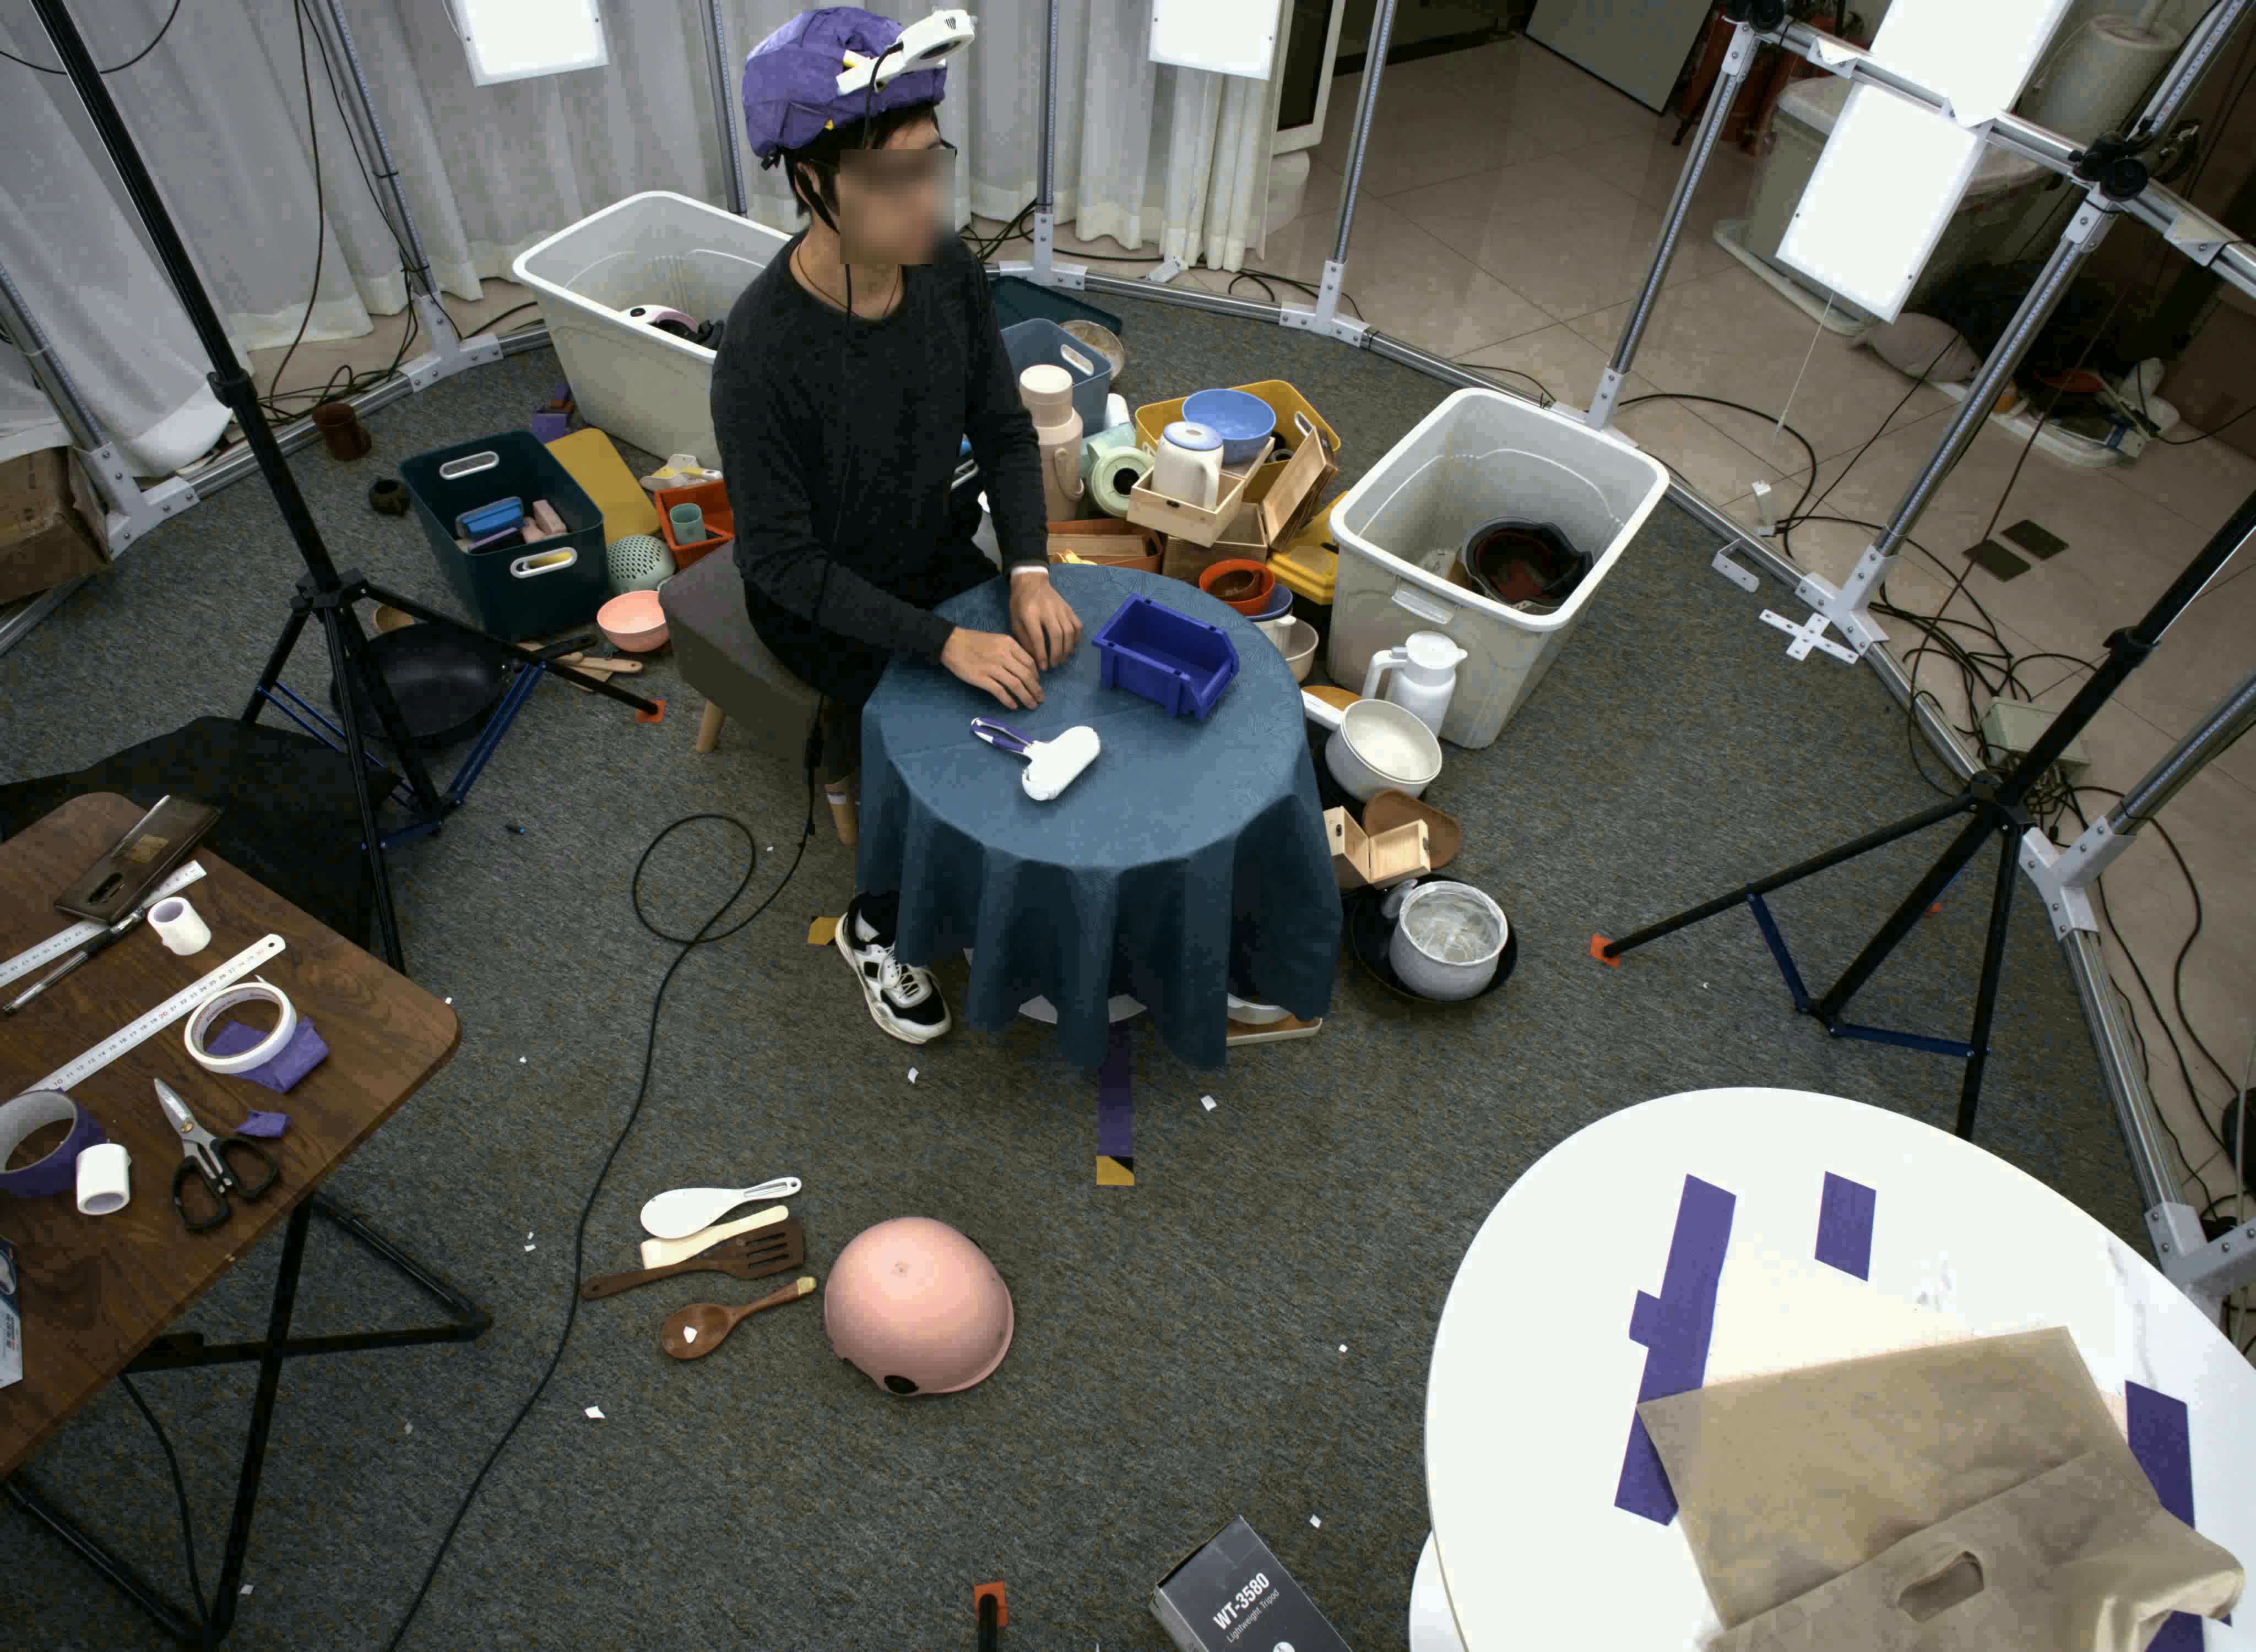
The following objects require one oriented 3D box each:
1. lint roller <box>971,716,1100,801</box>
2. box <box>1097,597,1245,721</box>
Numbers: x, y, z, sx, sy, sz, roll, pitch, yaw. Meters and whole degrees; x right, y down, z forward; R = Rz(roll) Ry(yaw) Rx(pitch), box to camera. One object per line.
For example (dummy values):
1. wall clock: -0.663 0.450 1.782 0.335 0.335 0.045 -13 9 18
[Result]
1. lint roller: -0.138 -0.115 1.730 0.183 0.049 0.134 32 56 20
2. box: 0.064 -0.235 1.826 0.181 0.080 0.126 24 51 20
